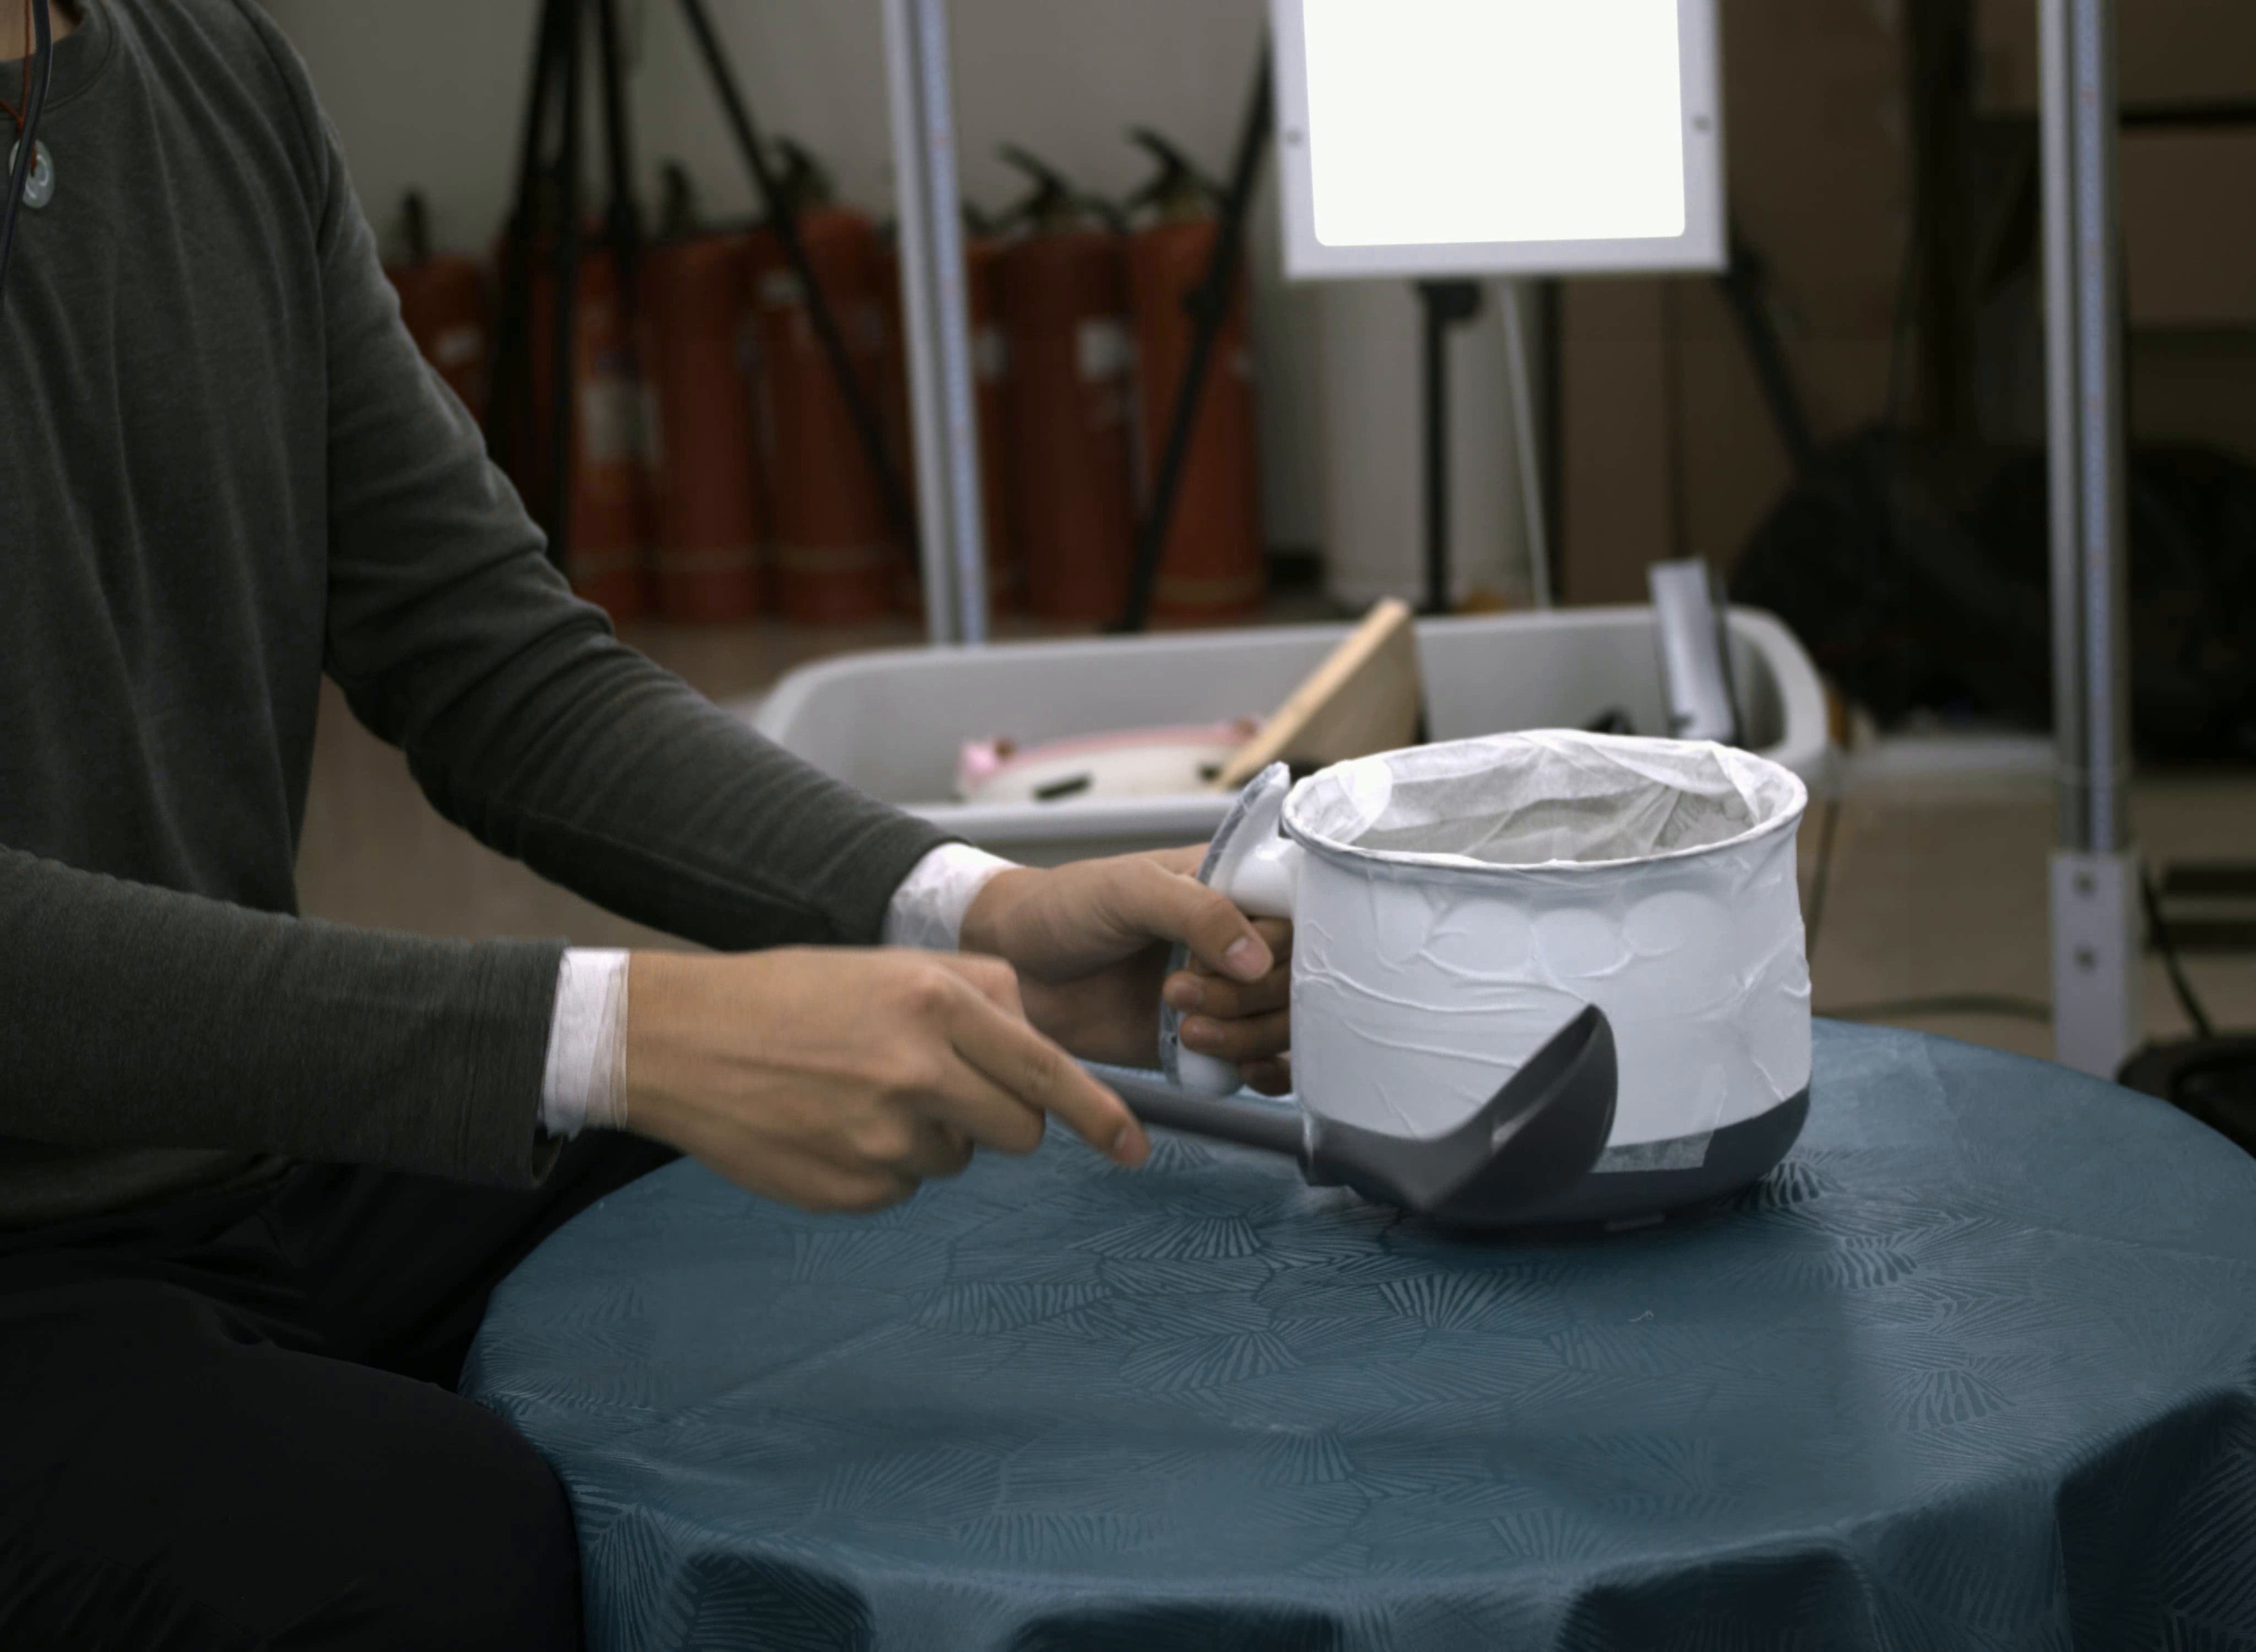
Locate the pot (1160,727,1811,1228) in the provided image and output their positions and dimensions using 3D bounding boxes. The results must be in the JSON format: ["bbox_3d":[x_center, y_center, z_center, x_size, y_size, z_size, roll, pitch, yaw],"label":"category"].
[{"bbox_3d":[0.118,0.048,1.868,0.237,0.137,0.175,5,16,27],"label":"pot"}]

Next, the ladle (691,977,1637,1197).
[{"bbox_3d":[0.004,0.060,1.684,0.318,0.064,0.084,11,27,24],"label":"ladle"}]
